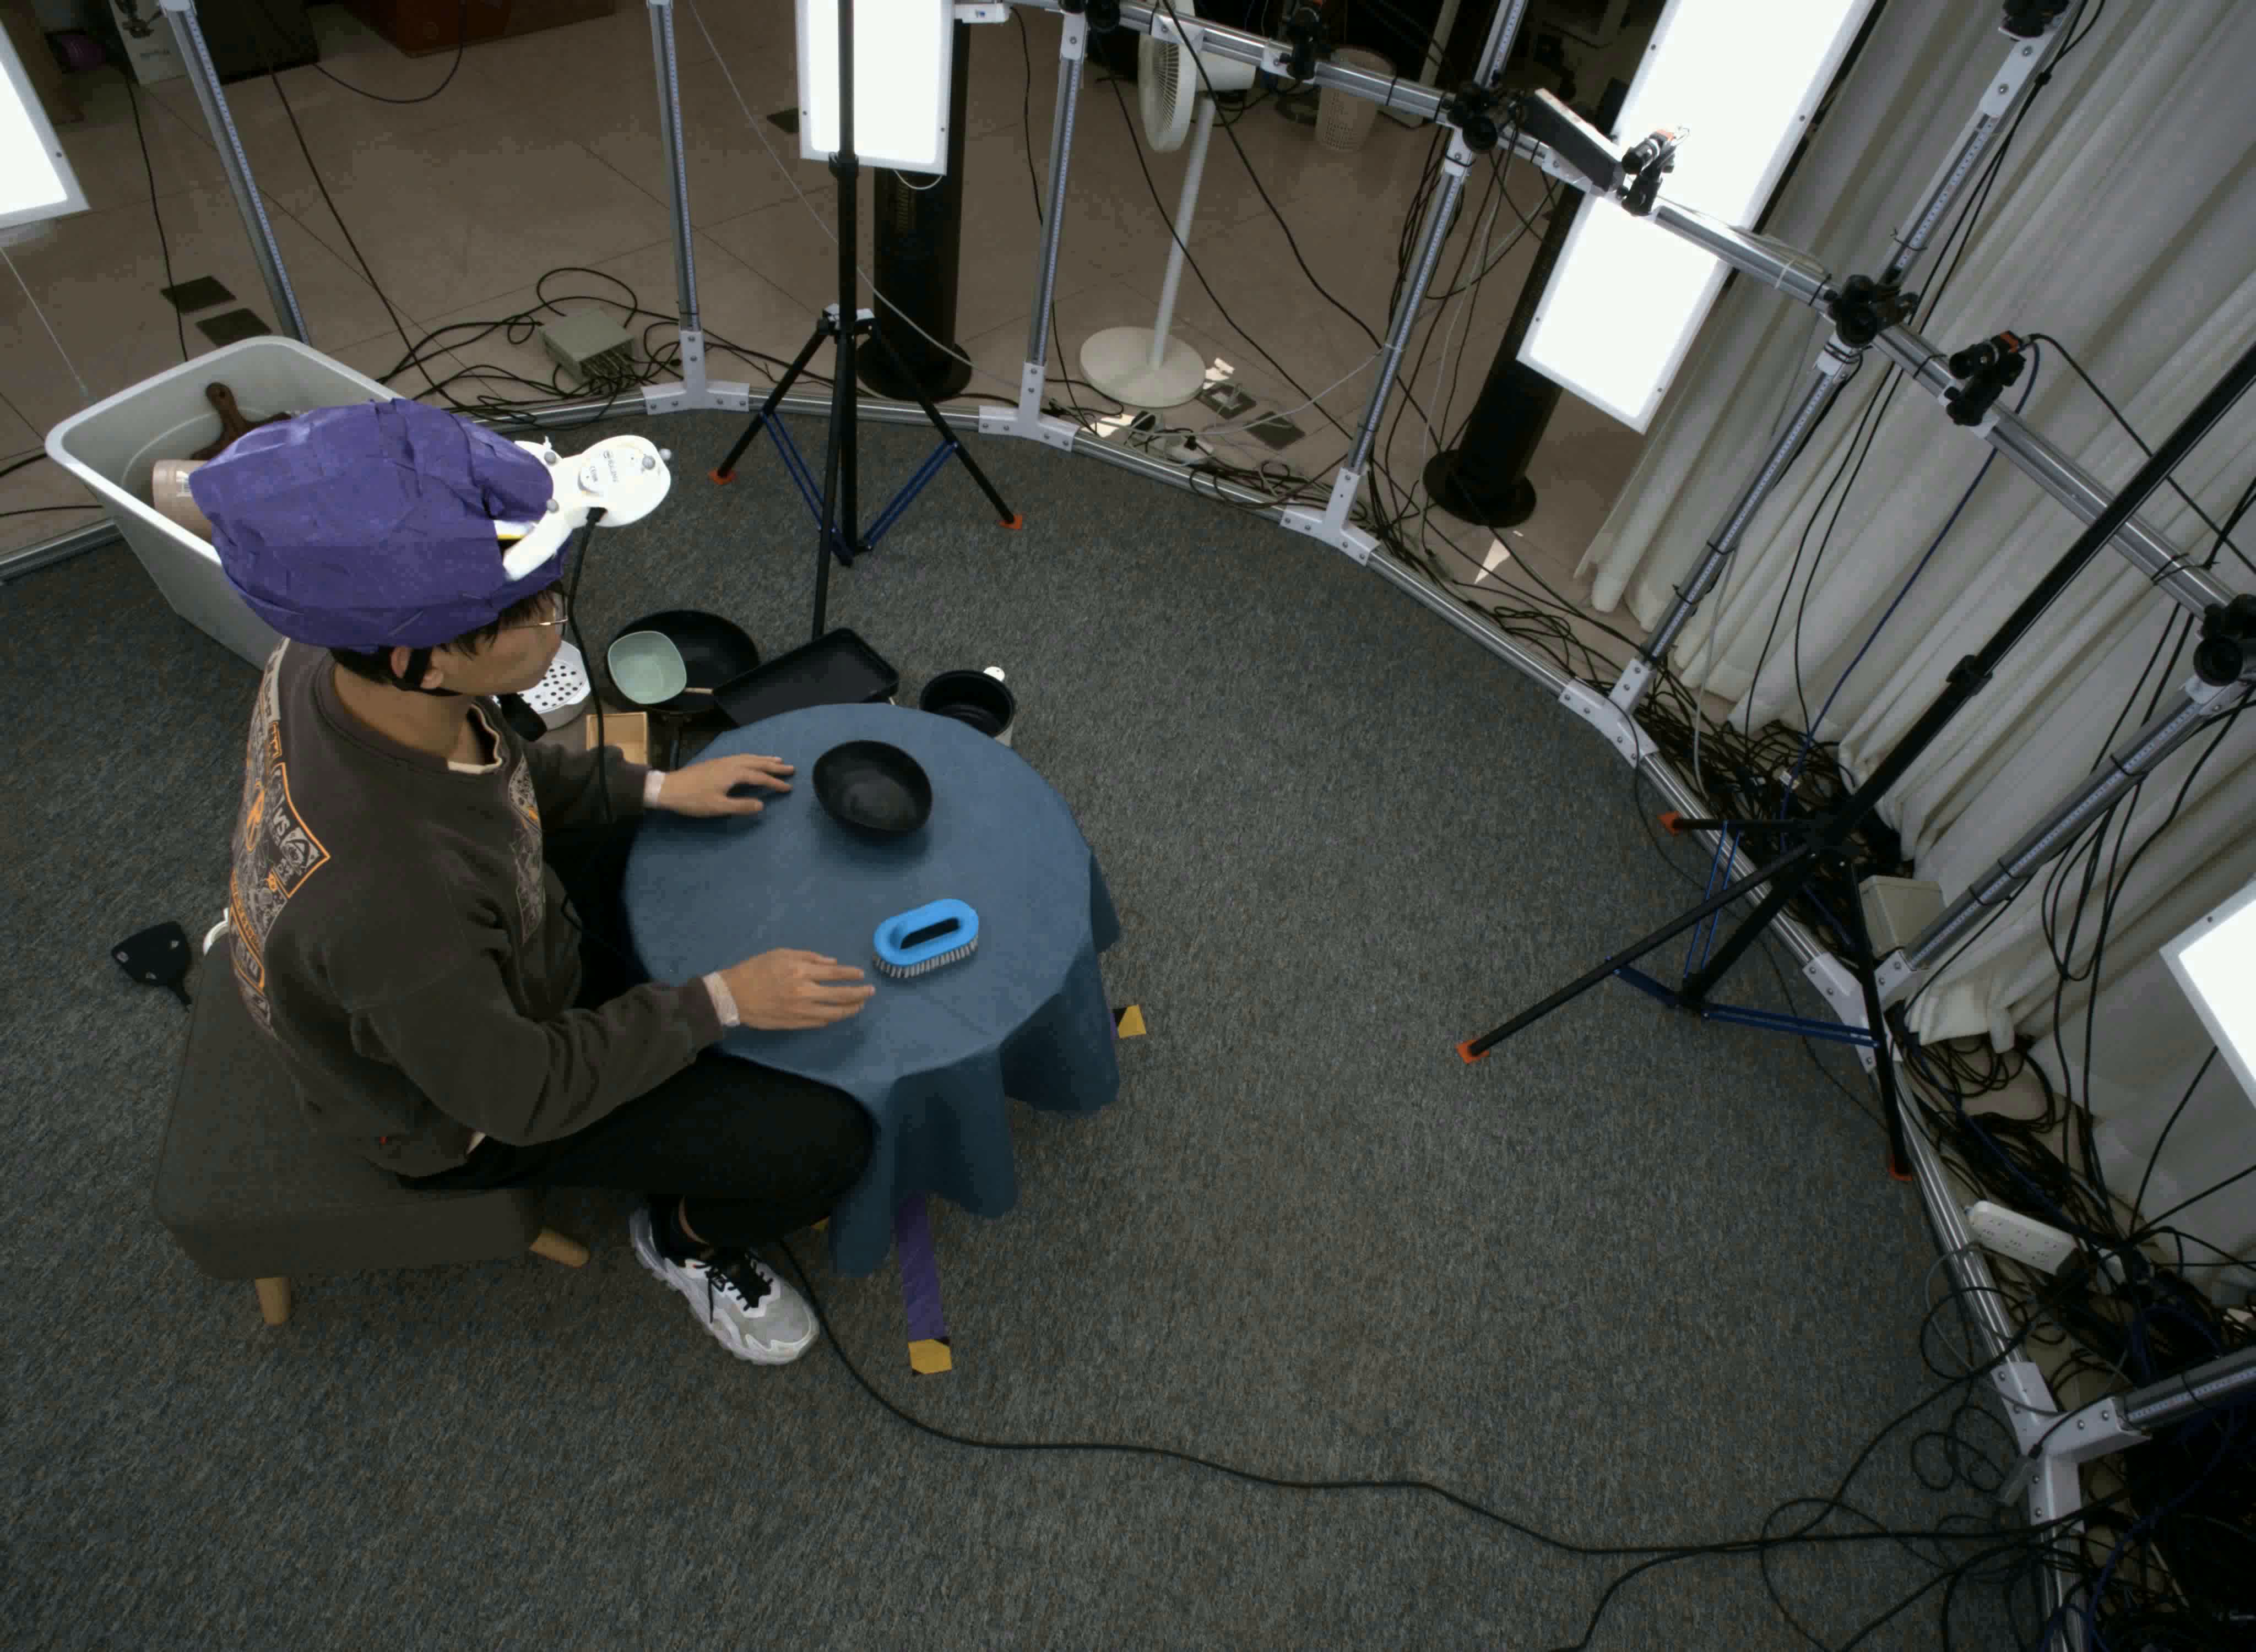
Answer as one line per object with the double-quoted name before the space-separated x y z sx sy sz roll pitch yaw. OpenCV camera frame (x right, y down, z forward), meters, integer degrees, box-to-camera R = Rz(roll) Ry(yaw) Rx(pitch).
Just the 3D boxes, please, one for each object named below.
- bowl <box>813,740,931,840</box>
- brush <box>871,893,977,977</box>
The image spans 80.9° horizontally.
"bowl" -0.342 -0.038 1.746 0.168 0.068 0.137 30 54 8
"brush" -0.255 0.129 1.643 0.142 0.065 0.082 -19 64 -23
